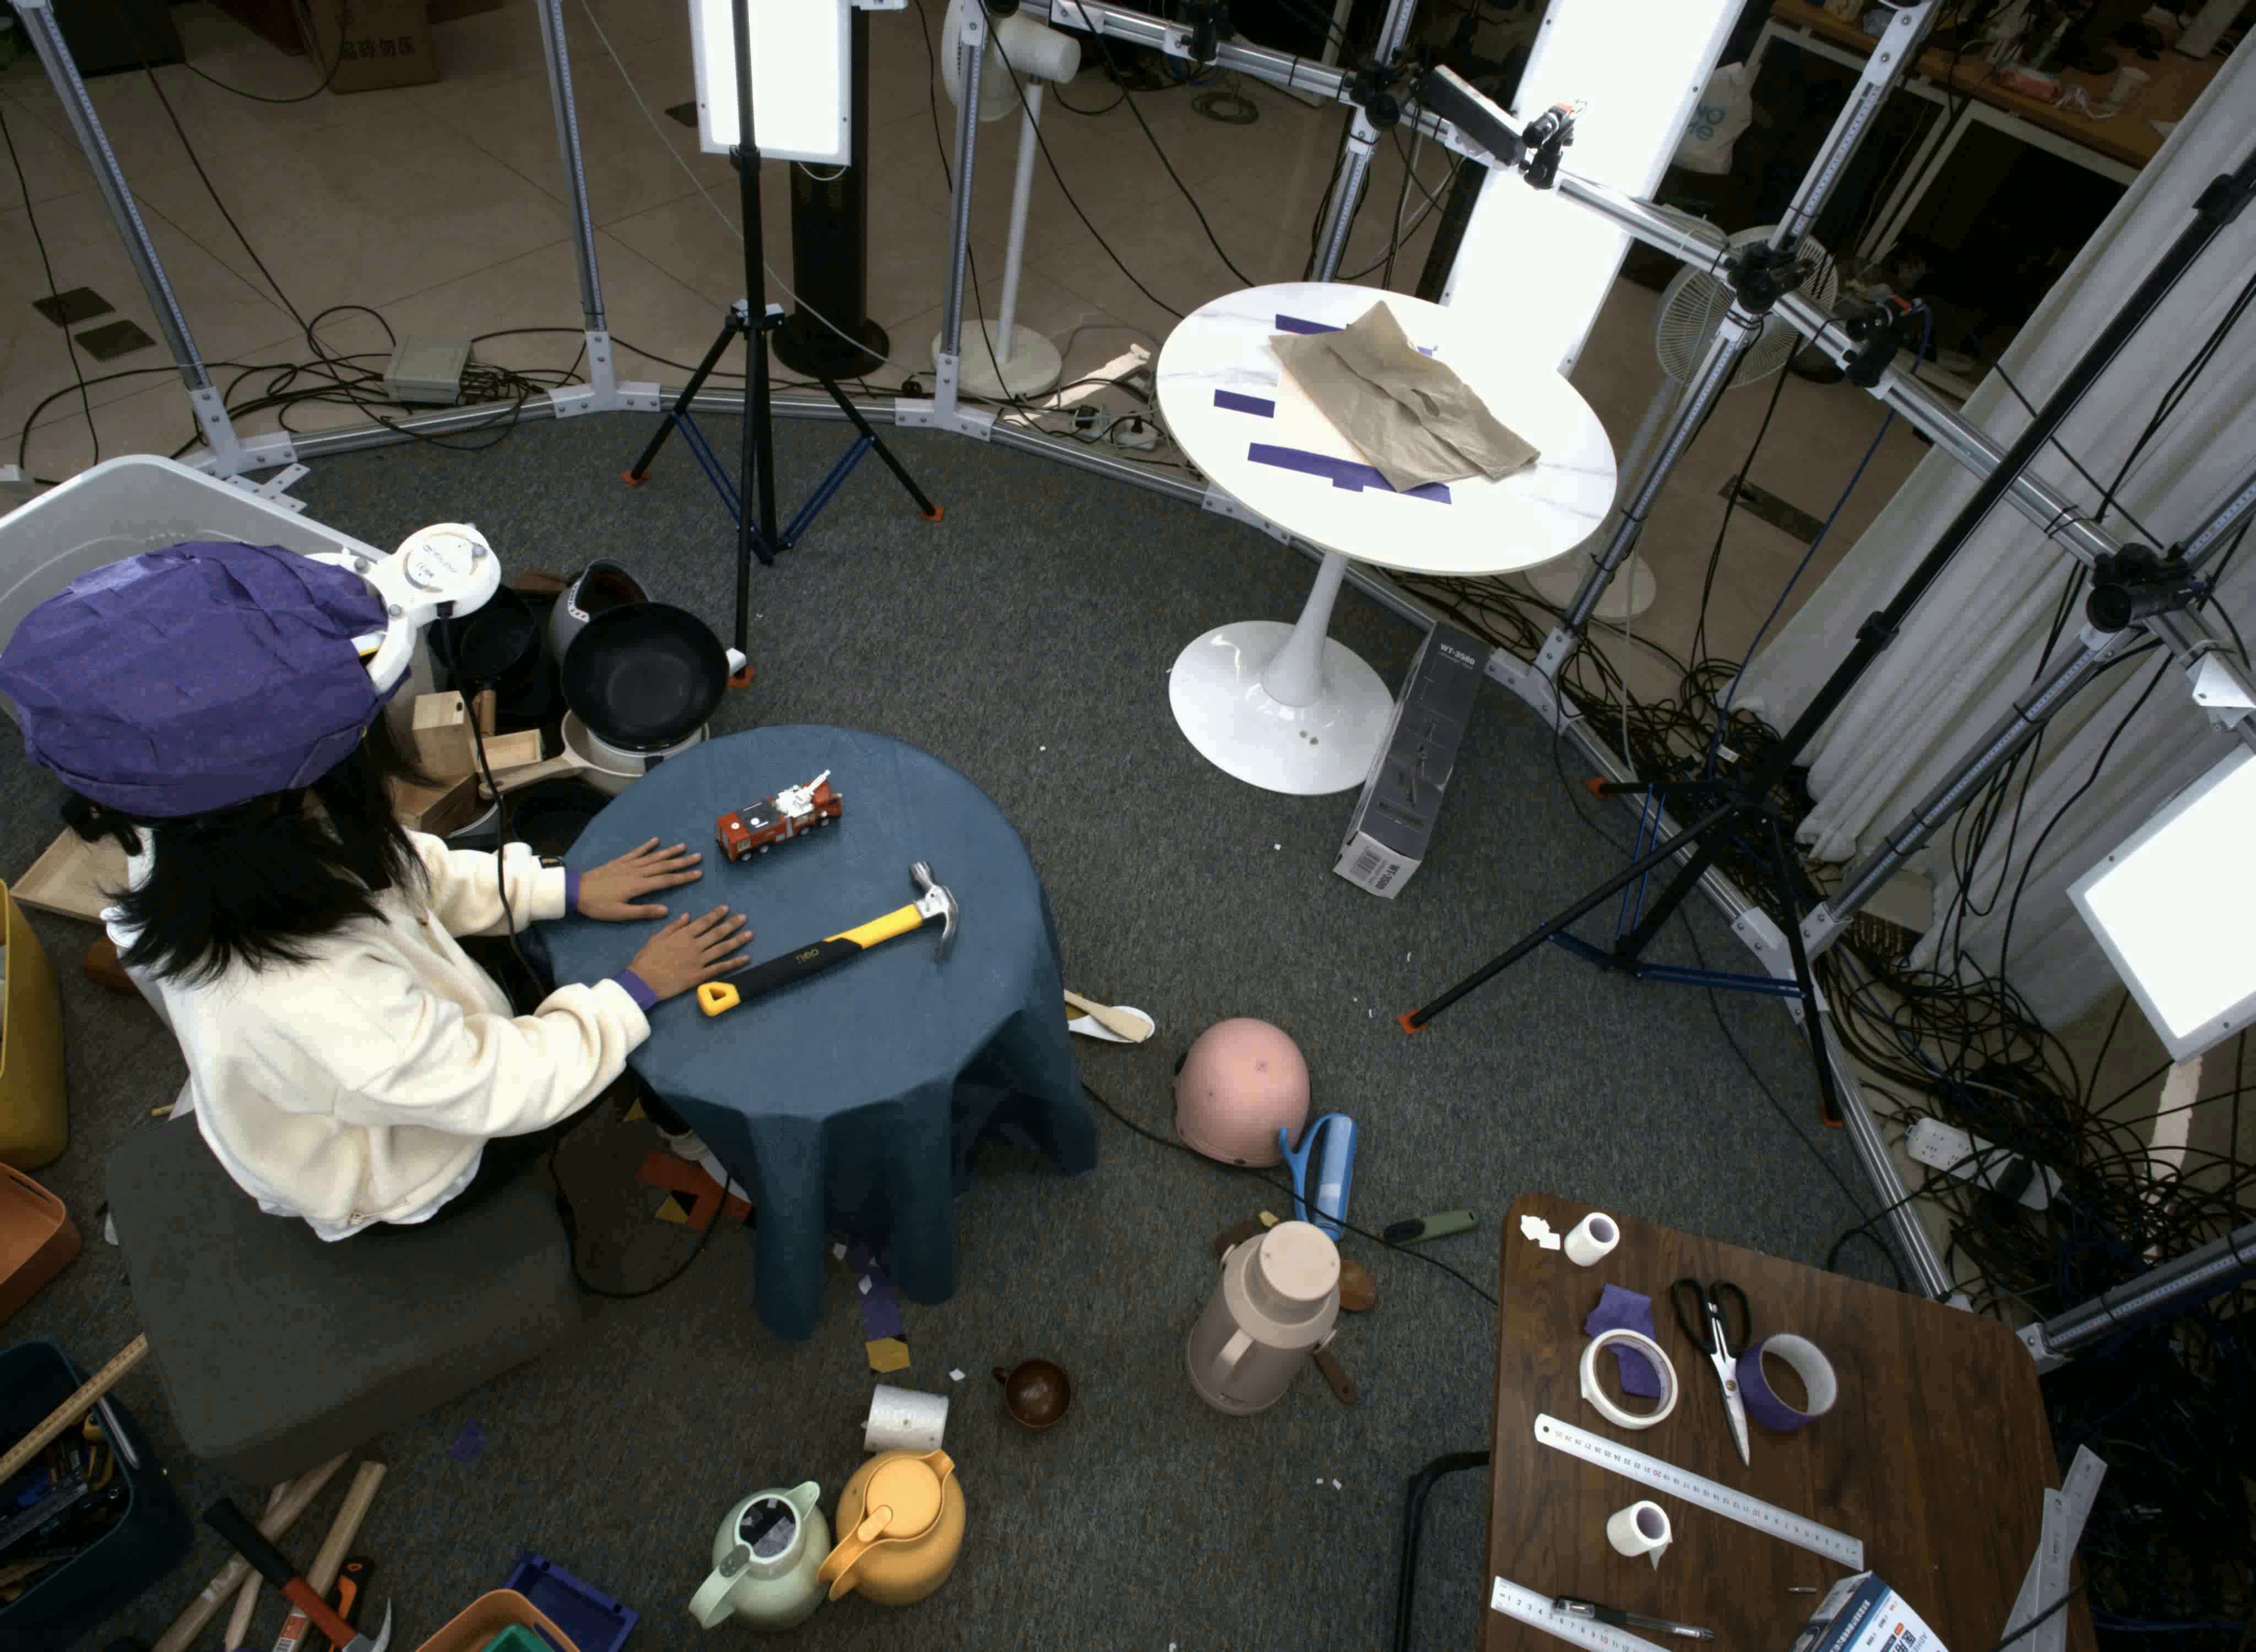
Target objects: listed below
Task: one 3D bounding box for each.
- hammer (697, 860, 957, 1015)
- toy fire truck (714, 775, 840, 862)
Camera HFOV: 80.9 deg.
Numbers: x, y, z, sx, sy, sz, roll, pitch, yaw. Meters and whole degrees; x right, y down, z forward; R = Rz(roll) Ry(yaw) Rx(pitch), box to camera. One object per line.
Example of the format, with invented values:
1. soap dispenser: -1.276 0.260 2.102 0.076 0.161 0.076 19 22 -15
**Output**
1. hammer: -0.365 0.148 1.599 0.340 0.033 0.128 -21 63 -29
2. toy fire truck: -0.454 -0.012 1.682 0.168 0.072 0.052 -28 63 -29
